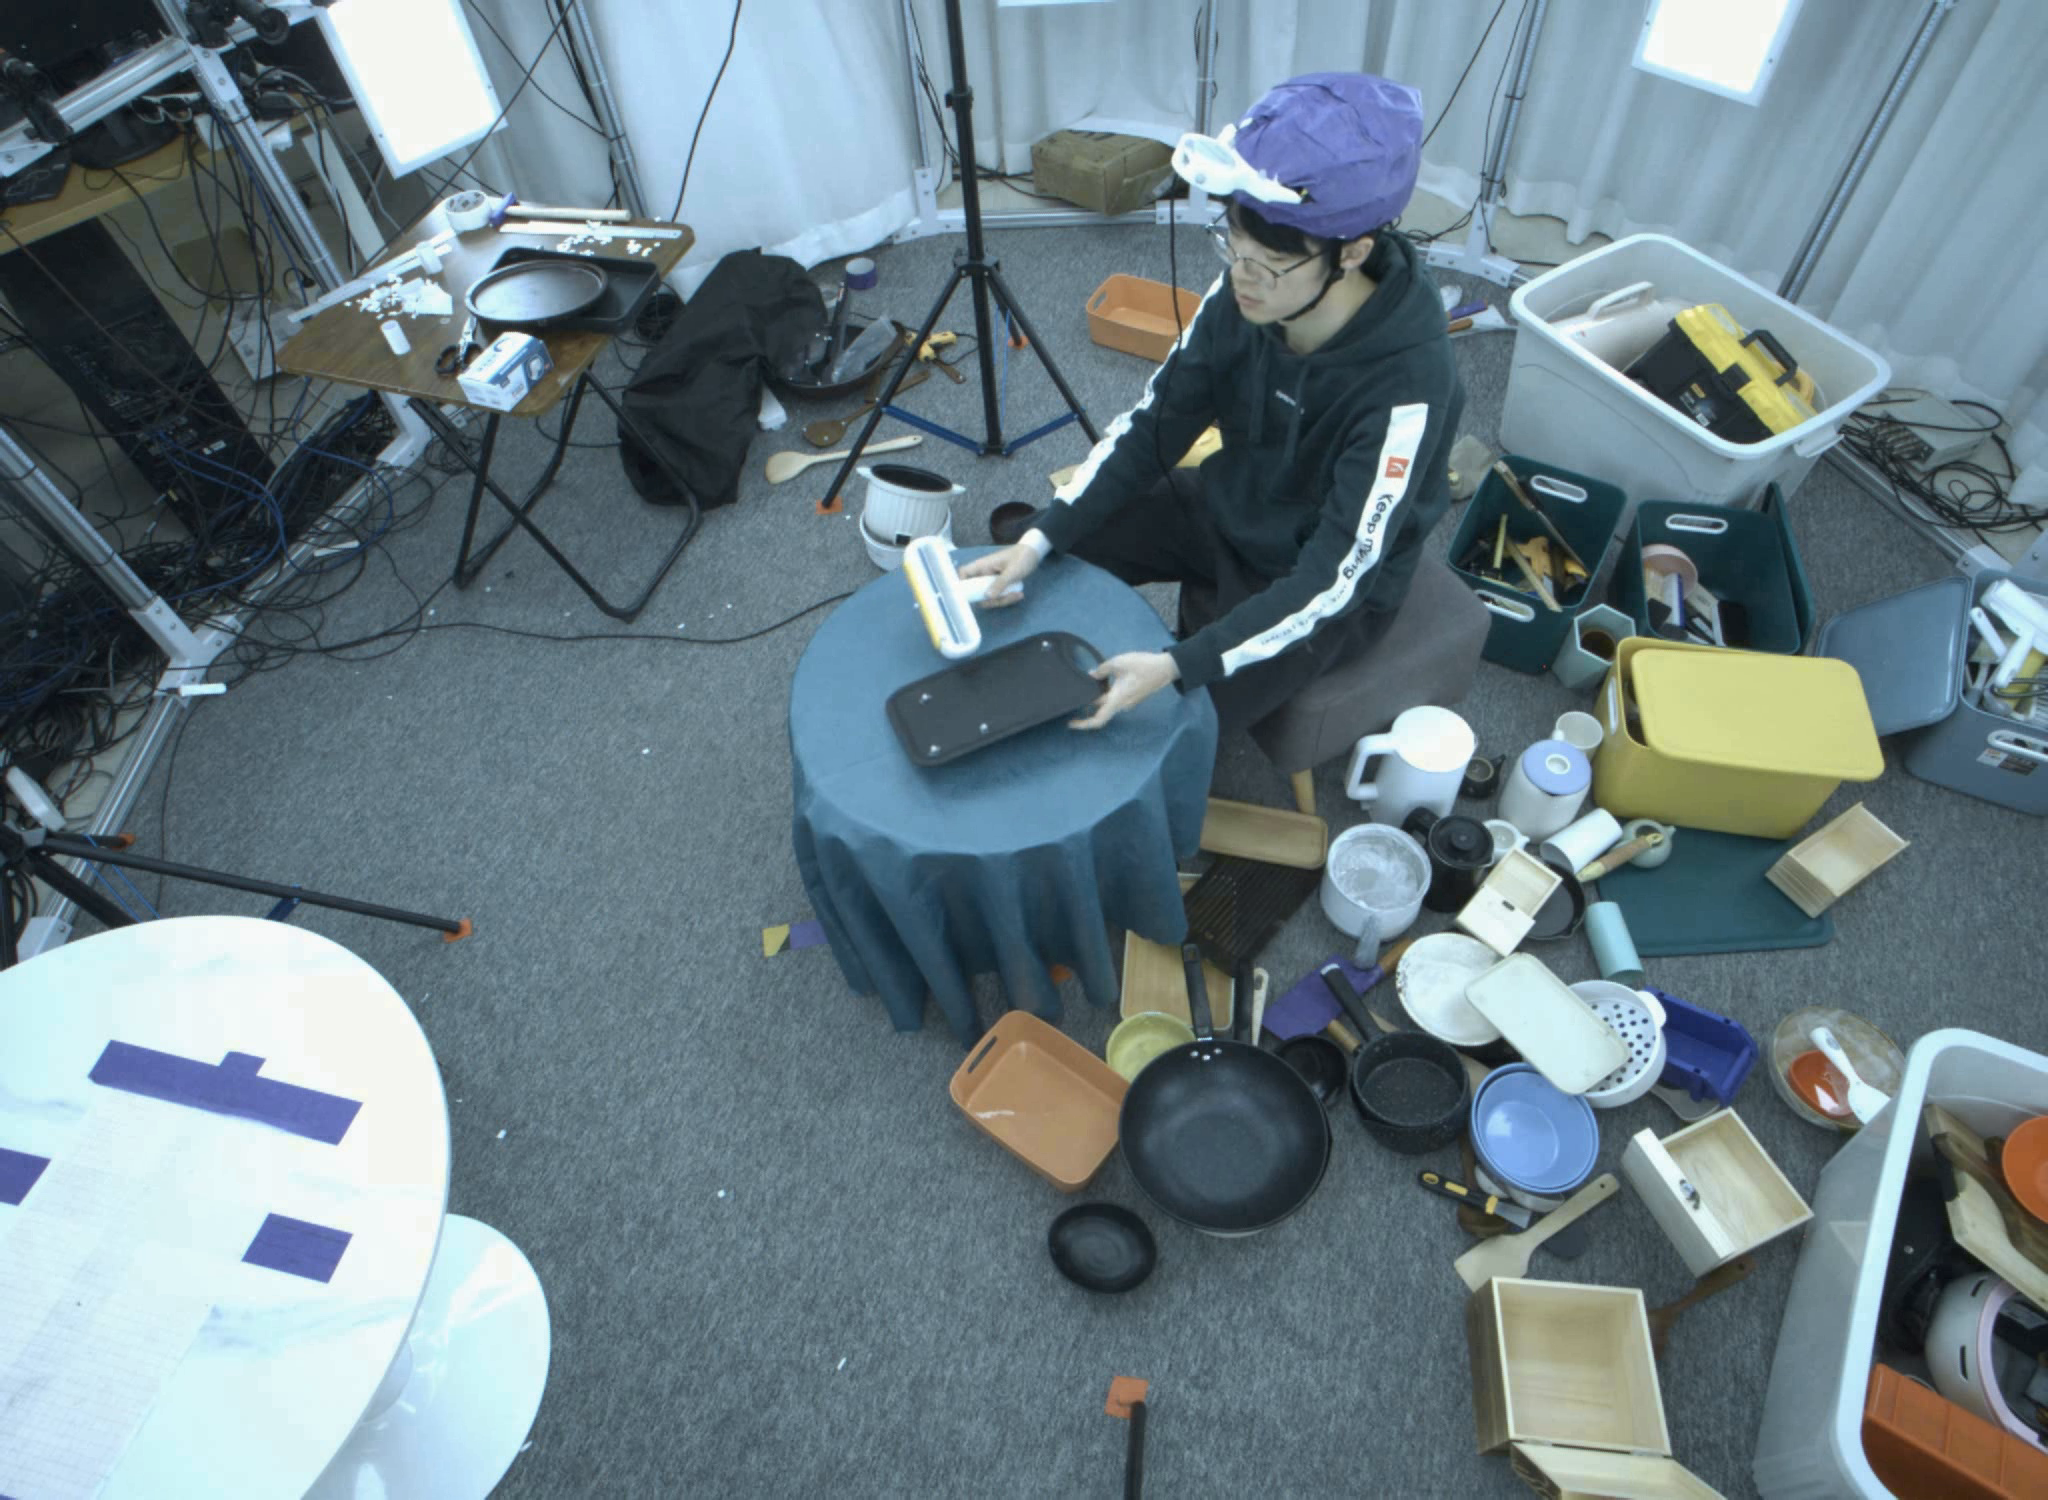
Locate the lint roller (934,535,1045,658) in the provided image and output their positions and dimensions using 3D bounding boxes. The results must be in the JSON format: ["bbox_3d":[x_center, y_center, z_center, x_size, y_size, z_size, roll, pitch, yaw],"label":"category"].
[{"bbox_3d":[-0.039,-0.235,1.890,0.196,0.073,0.191,-9,77,-36],"label":"lint roller"}]

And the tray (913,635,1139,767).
[{"bbox_3d":[0.005,-0.081,1.794,0.327,0.010,0.207,-20,40,-8],"label":"tray"}]
